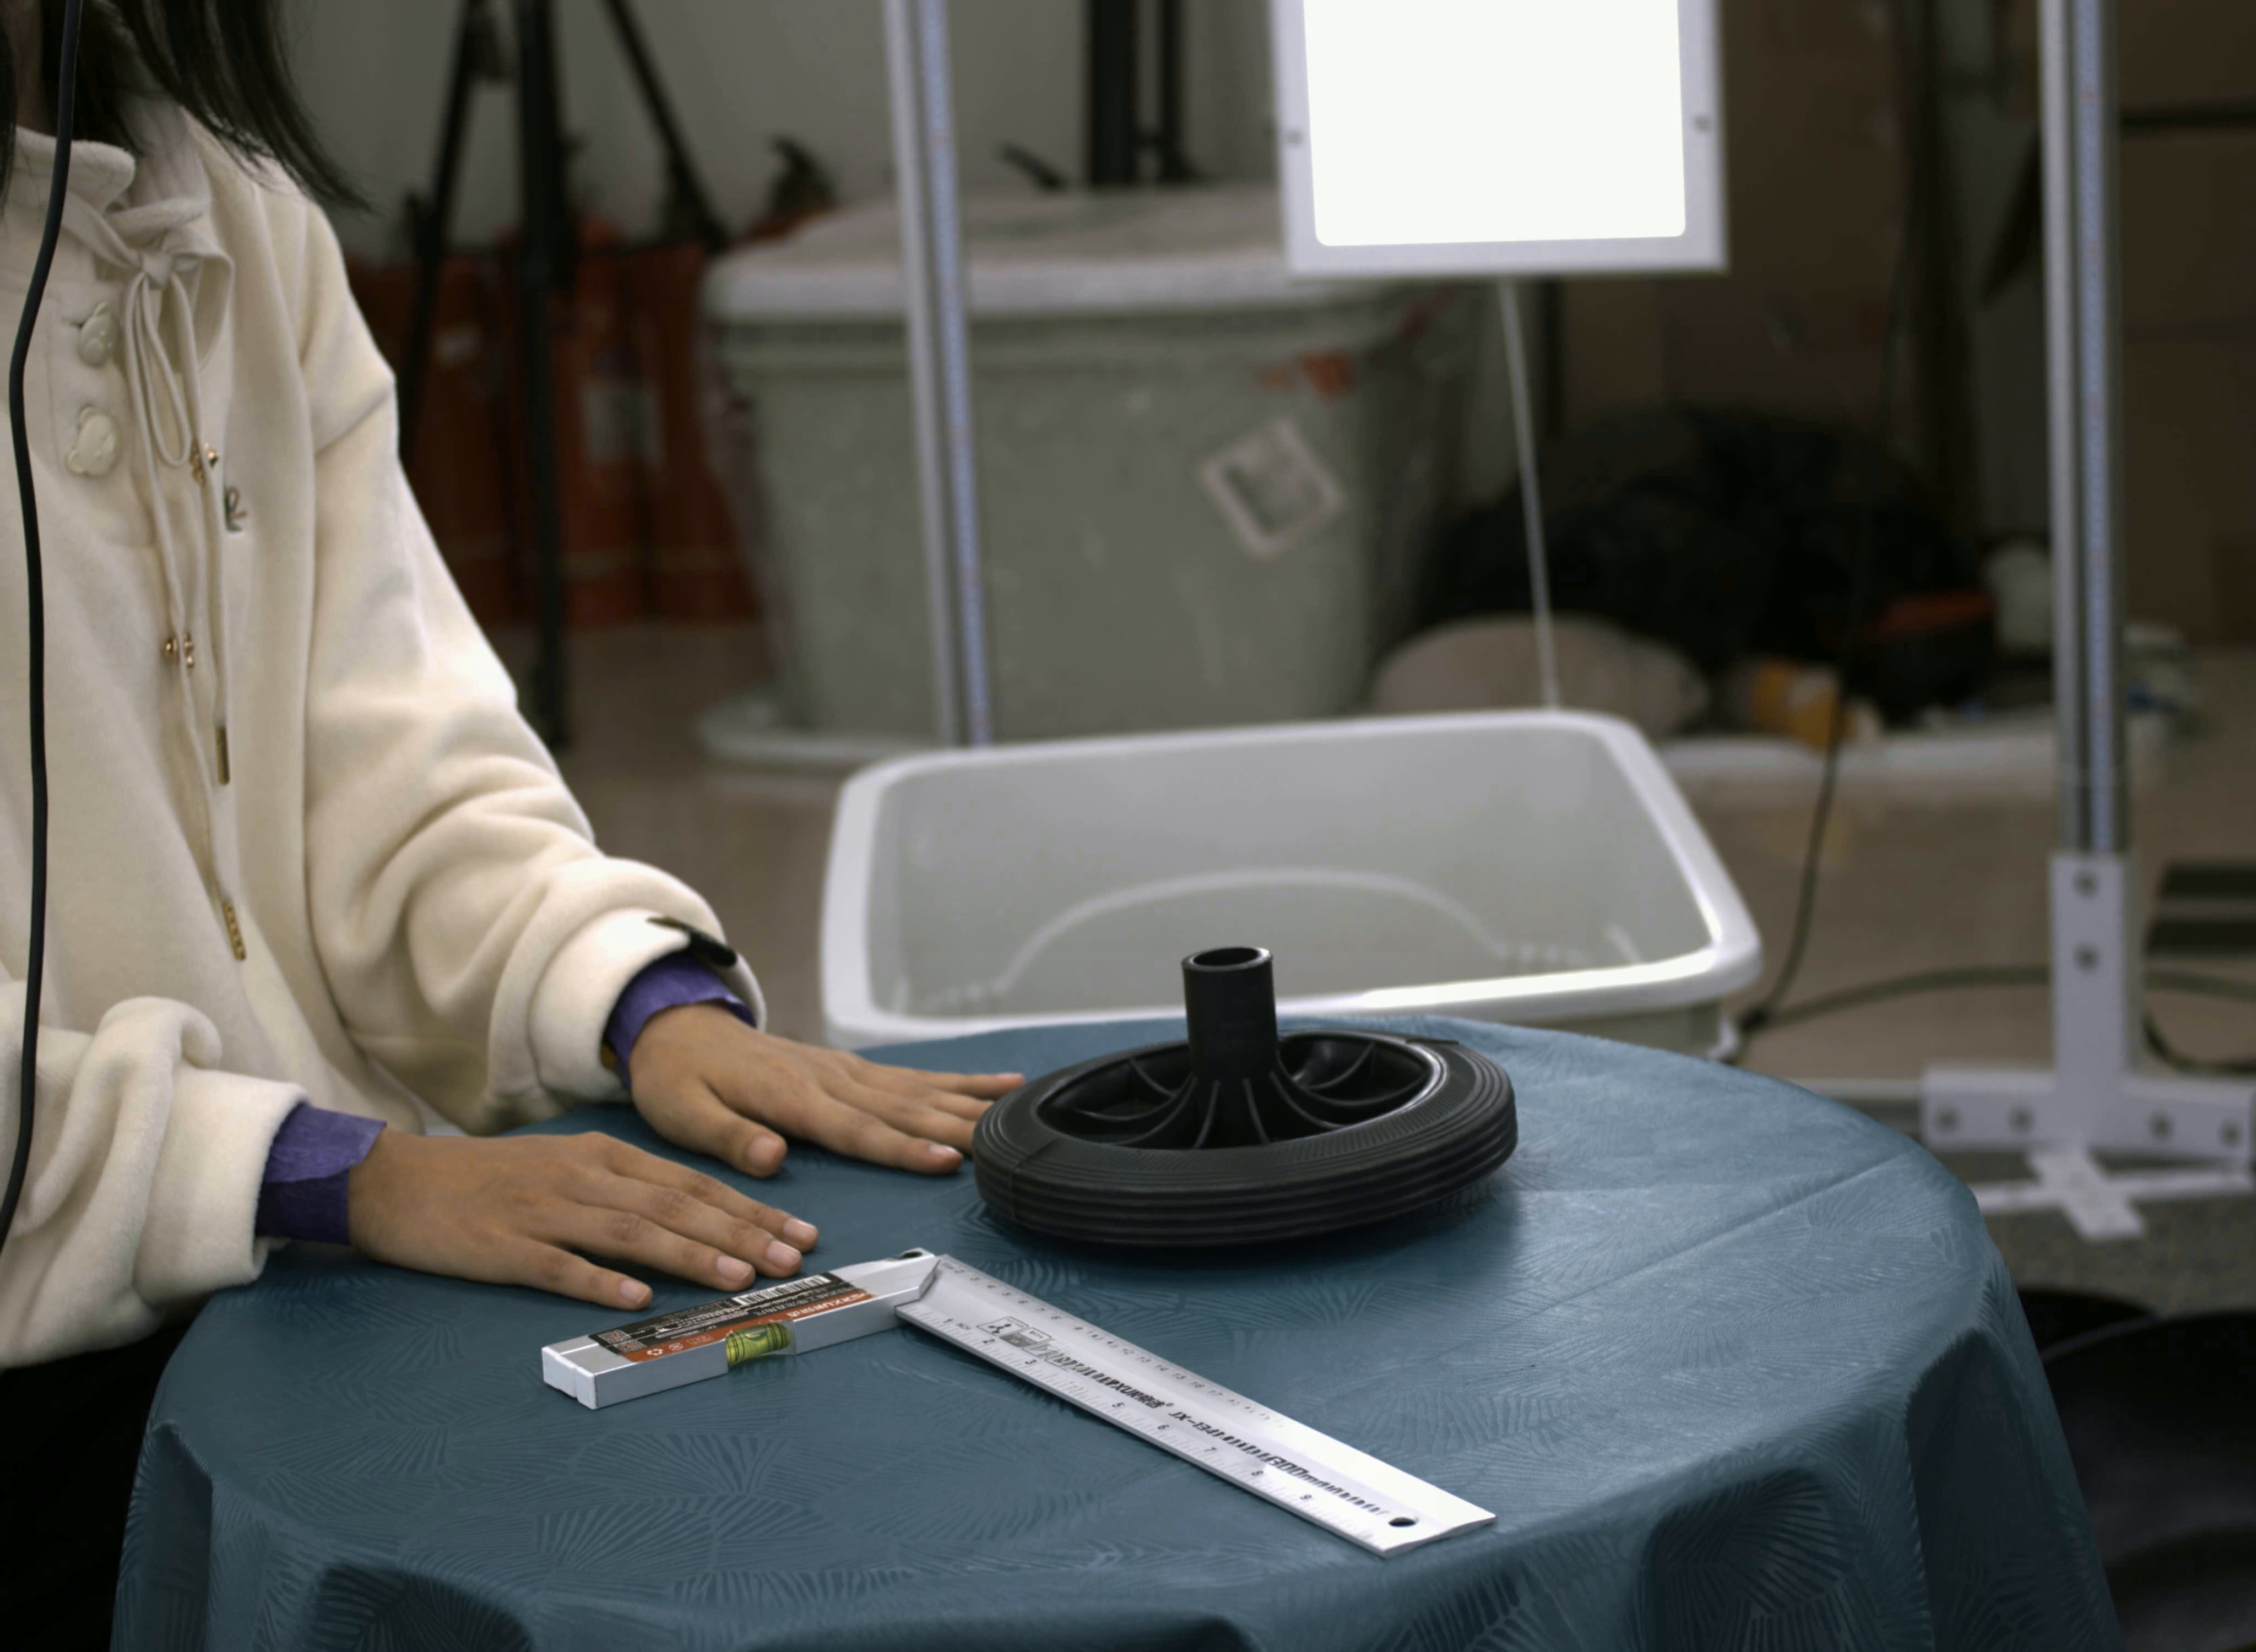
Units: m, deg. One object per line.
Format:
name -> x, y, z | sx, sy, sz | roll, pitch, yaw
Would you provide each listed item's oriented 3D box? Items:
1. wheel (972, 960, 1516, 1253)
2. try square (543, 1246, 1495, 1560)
wheel -> 0.038, 0.088, 1.883 | 0.188, 0.079, 0.188 | -5, 13, 6
try square -> -0.041, 0.186, 1.664 | 0.149, 0.016, 0.319 | -16, 18, -28
